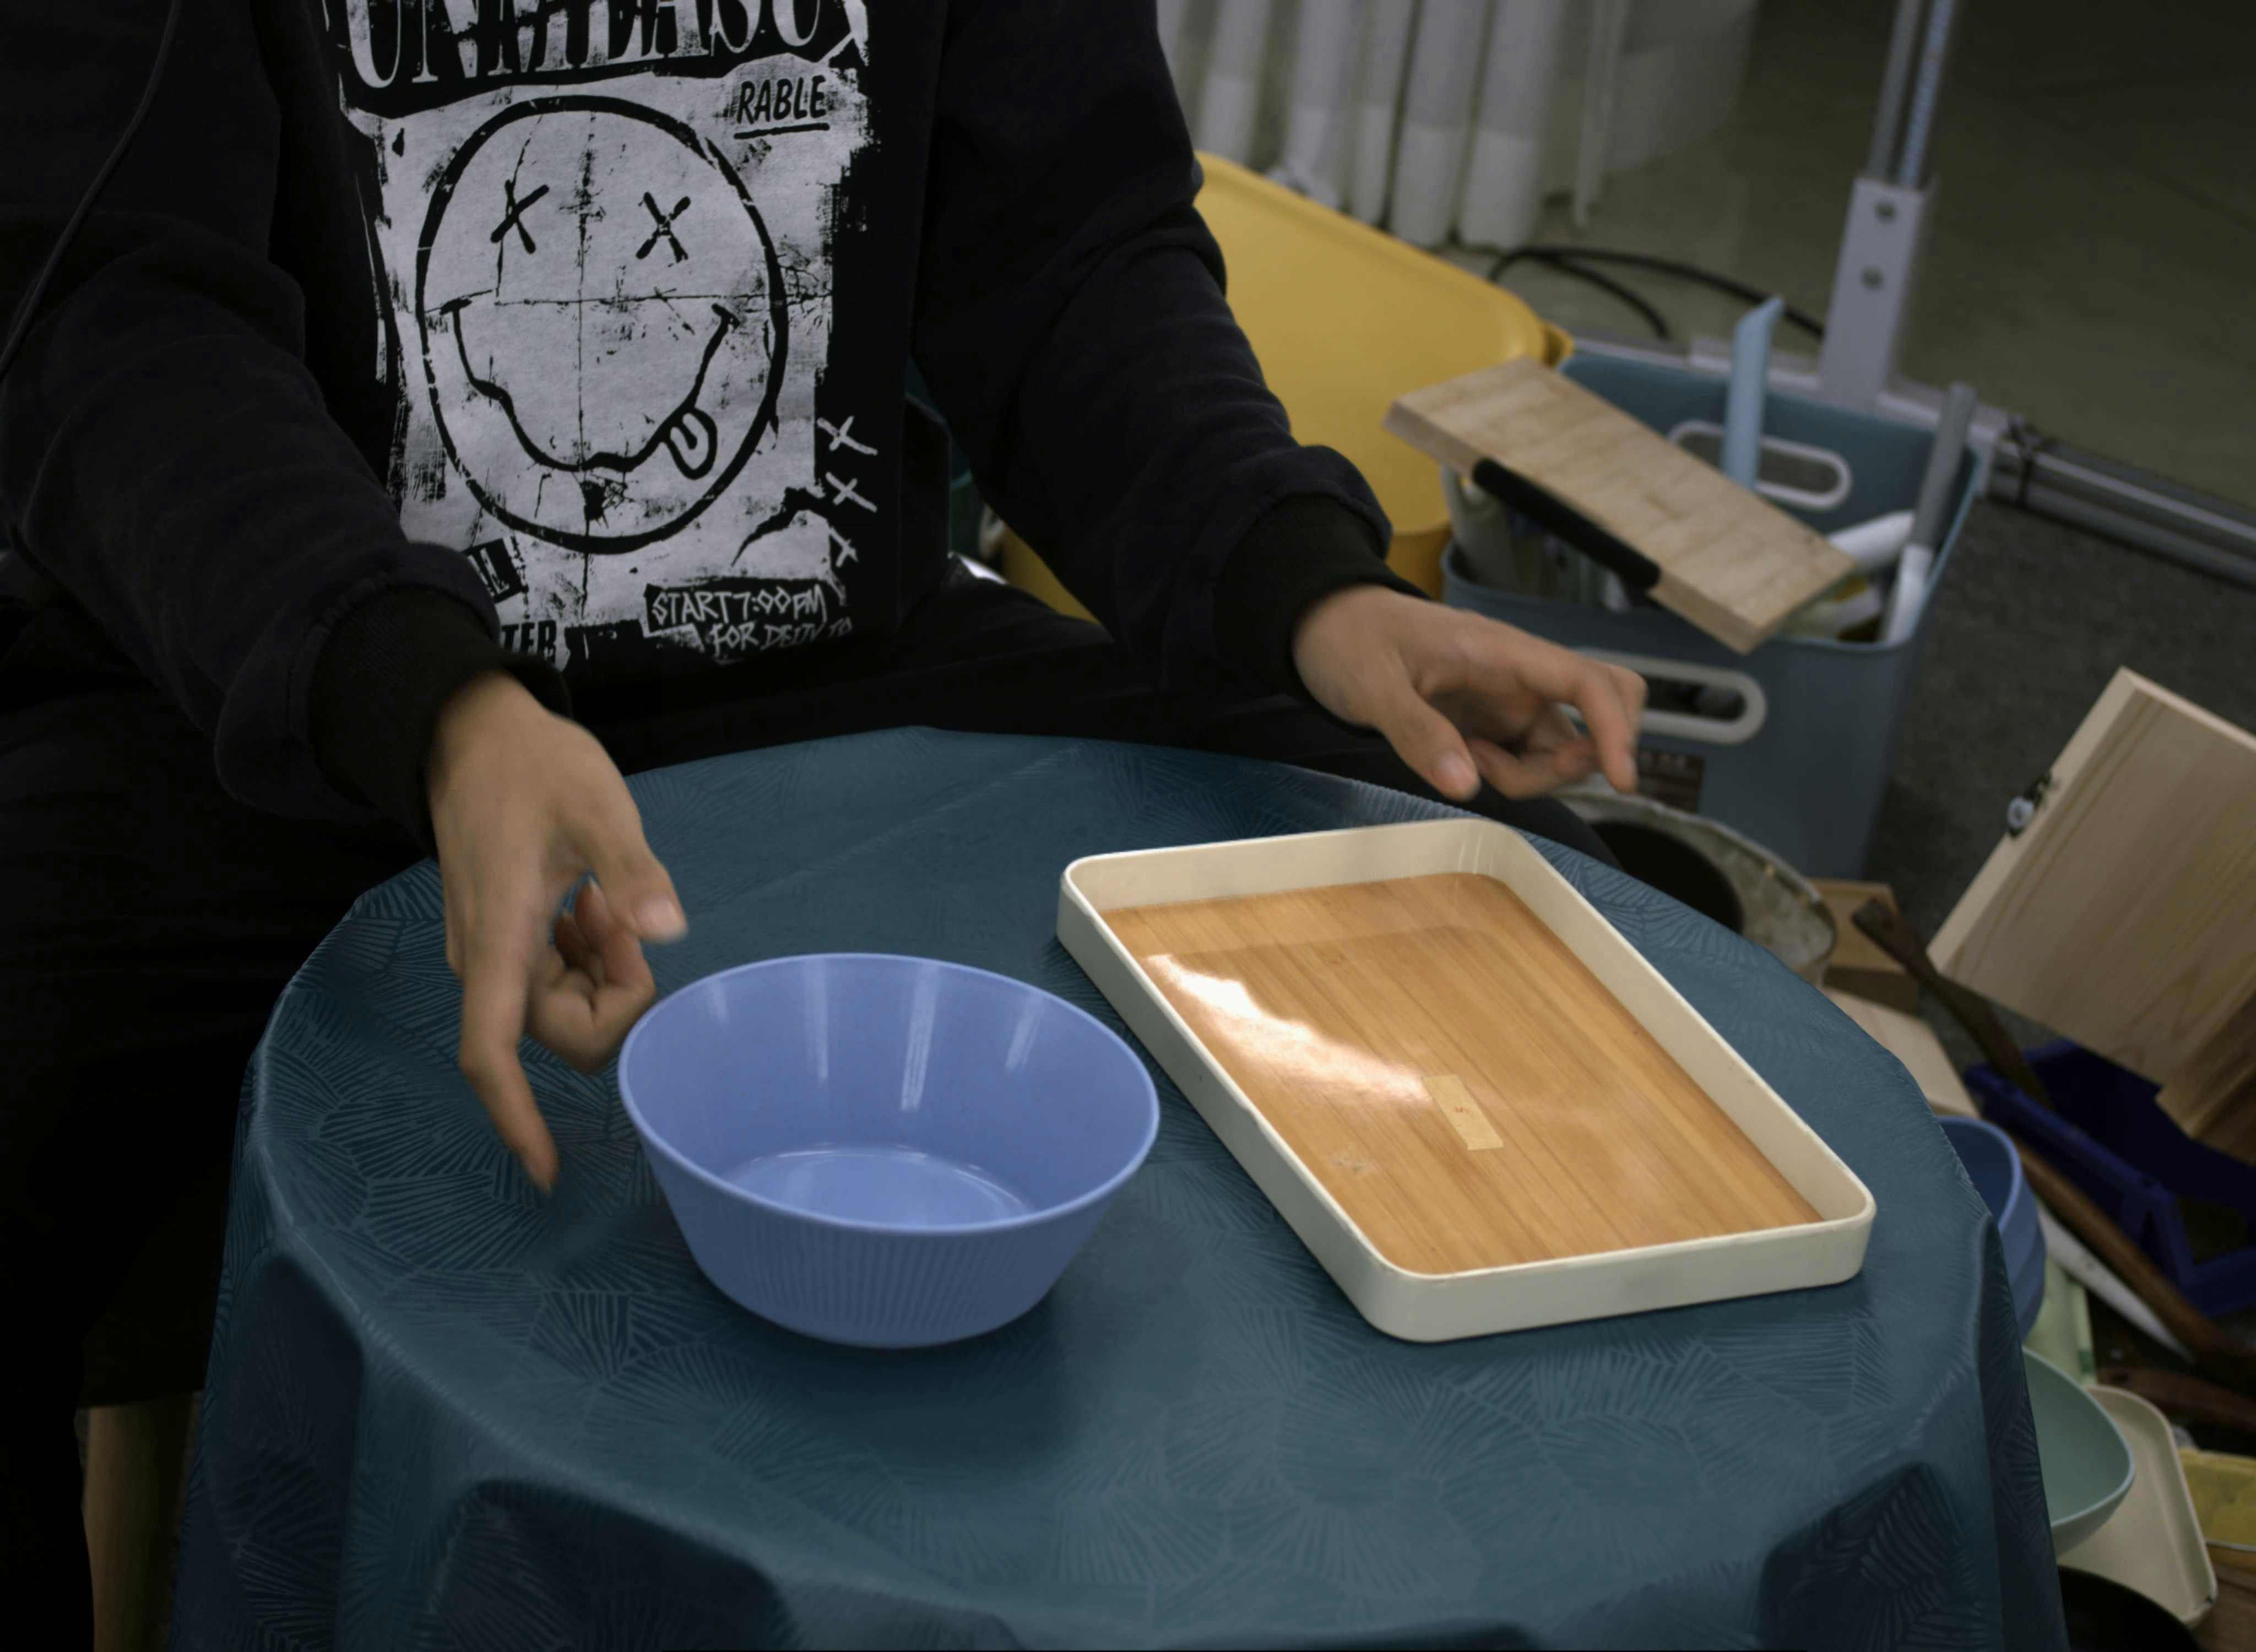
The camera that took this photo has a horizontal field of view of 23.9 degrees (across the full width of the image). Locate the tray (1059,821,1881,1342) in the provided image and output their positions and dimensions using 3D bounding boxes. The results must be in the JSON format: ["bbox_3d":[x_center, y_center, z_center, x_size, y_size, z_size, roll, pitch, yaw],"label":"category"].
[{"bbox_3d":[0.114,0.084,1.876,0.190,0.027,0.303,-6,29,-23],"label":"tray"}]

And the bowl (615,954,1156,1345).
[{"bbox_3d":[-0.082,0.111,1.728,0.175,0.070,0.177,6,27,-3],"label":"bowl"}]
